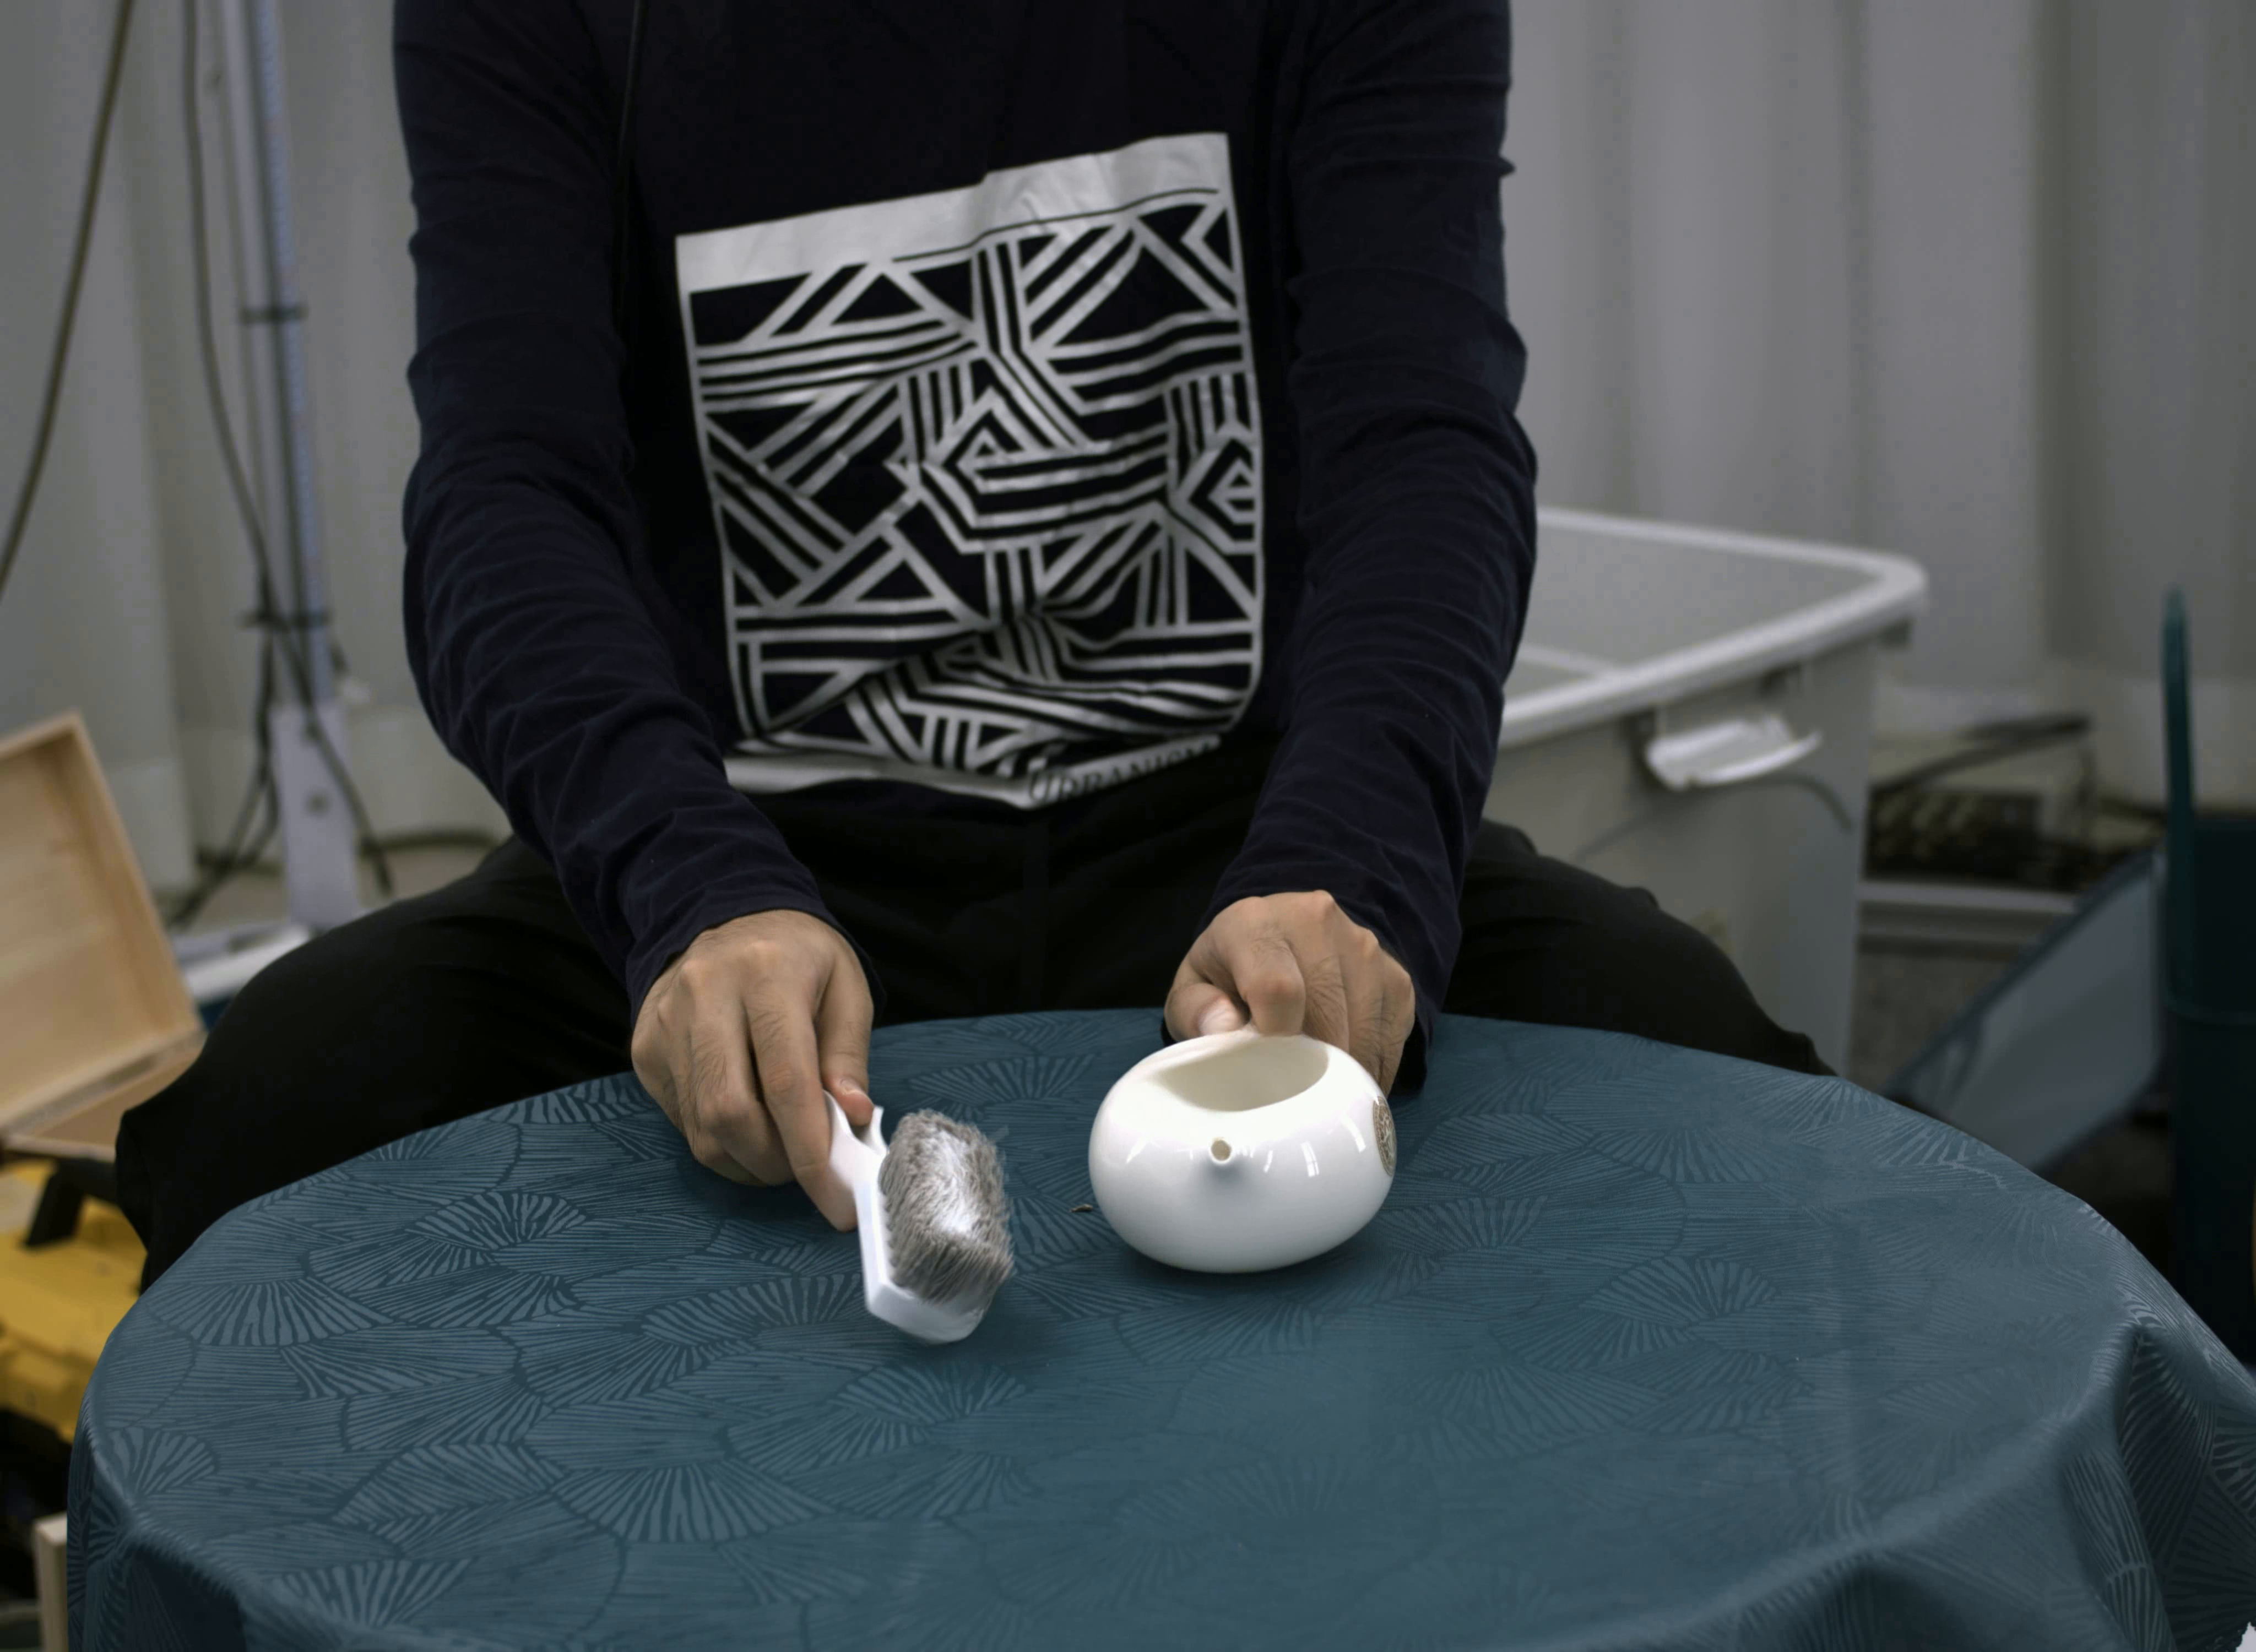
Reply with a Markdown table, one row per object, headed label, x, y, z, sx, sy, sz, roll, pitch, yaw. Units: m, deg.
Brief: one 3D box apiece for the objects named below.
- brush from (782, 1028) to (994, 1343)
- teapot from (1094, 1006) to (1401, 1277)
| label | x | y | z | sx | sy | sz | roll | pitch | yaw |
| --- | --- | --- | --- | --- | --- | --- | --- | --- | --- |
| brush | -0.075 | 0.091 | 1.679 | 0.034 | 0.050 | 0.246 | 20 | 13 | -16 |
| teapot | 0.036 | 0.095 | 1.660 | 0.093 | 0.056 | 0.128 | -11 | 19 | 5 |
